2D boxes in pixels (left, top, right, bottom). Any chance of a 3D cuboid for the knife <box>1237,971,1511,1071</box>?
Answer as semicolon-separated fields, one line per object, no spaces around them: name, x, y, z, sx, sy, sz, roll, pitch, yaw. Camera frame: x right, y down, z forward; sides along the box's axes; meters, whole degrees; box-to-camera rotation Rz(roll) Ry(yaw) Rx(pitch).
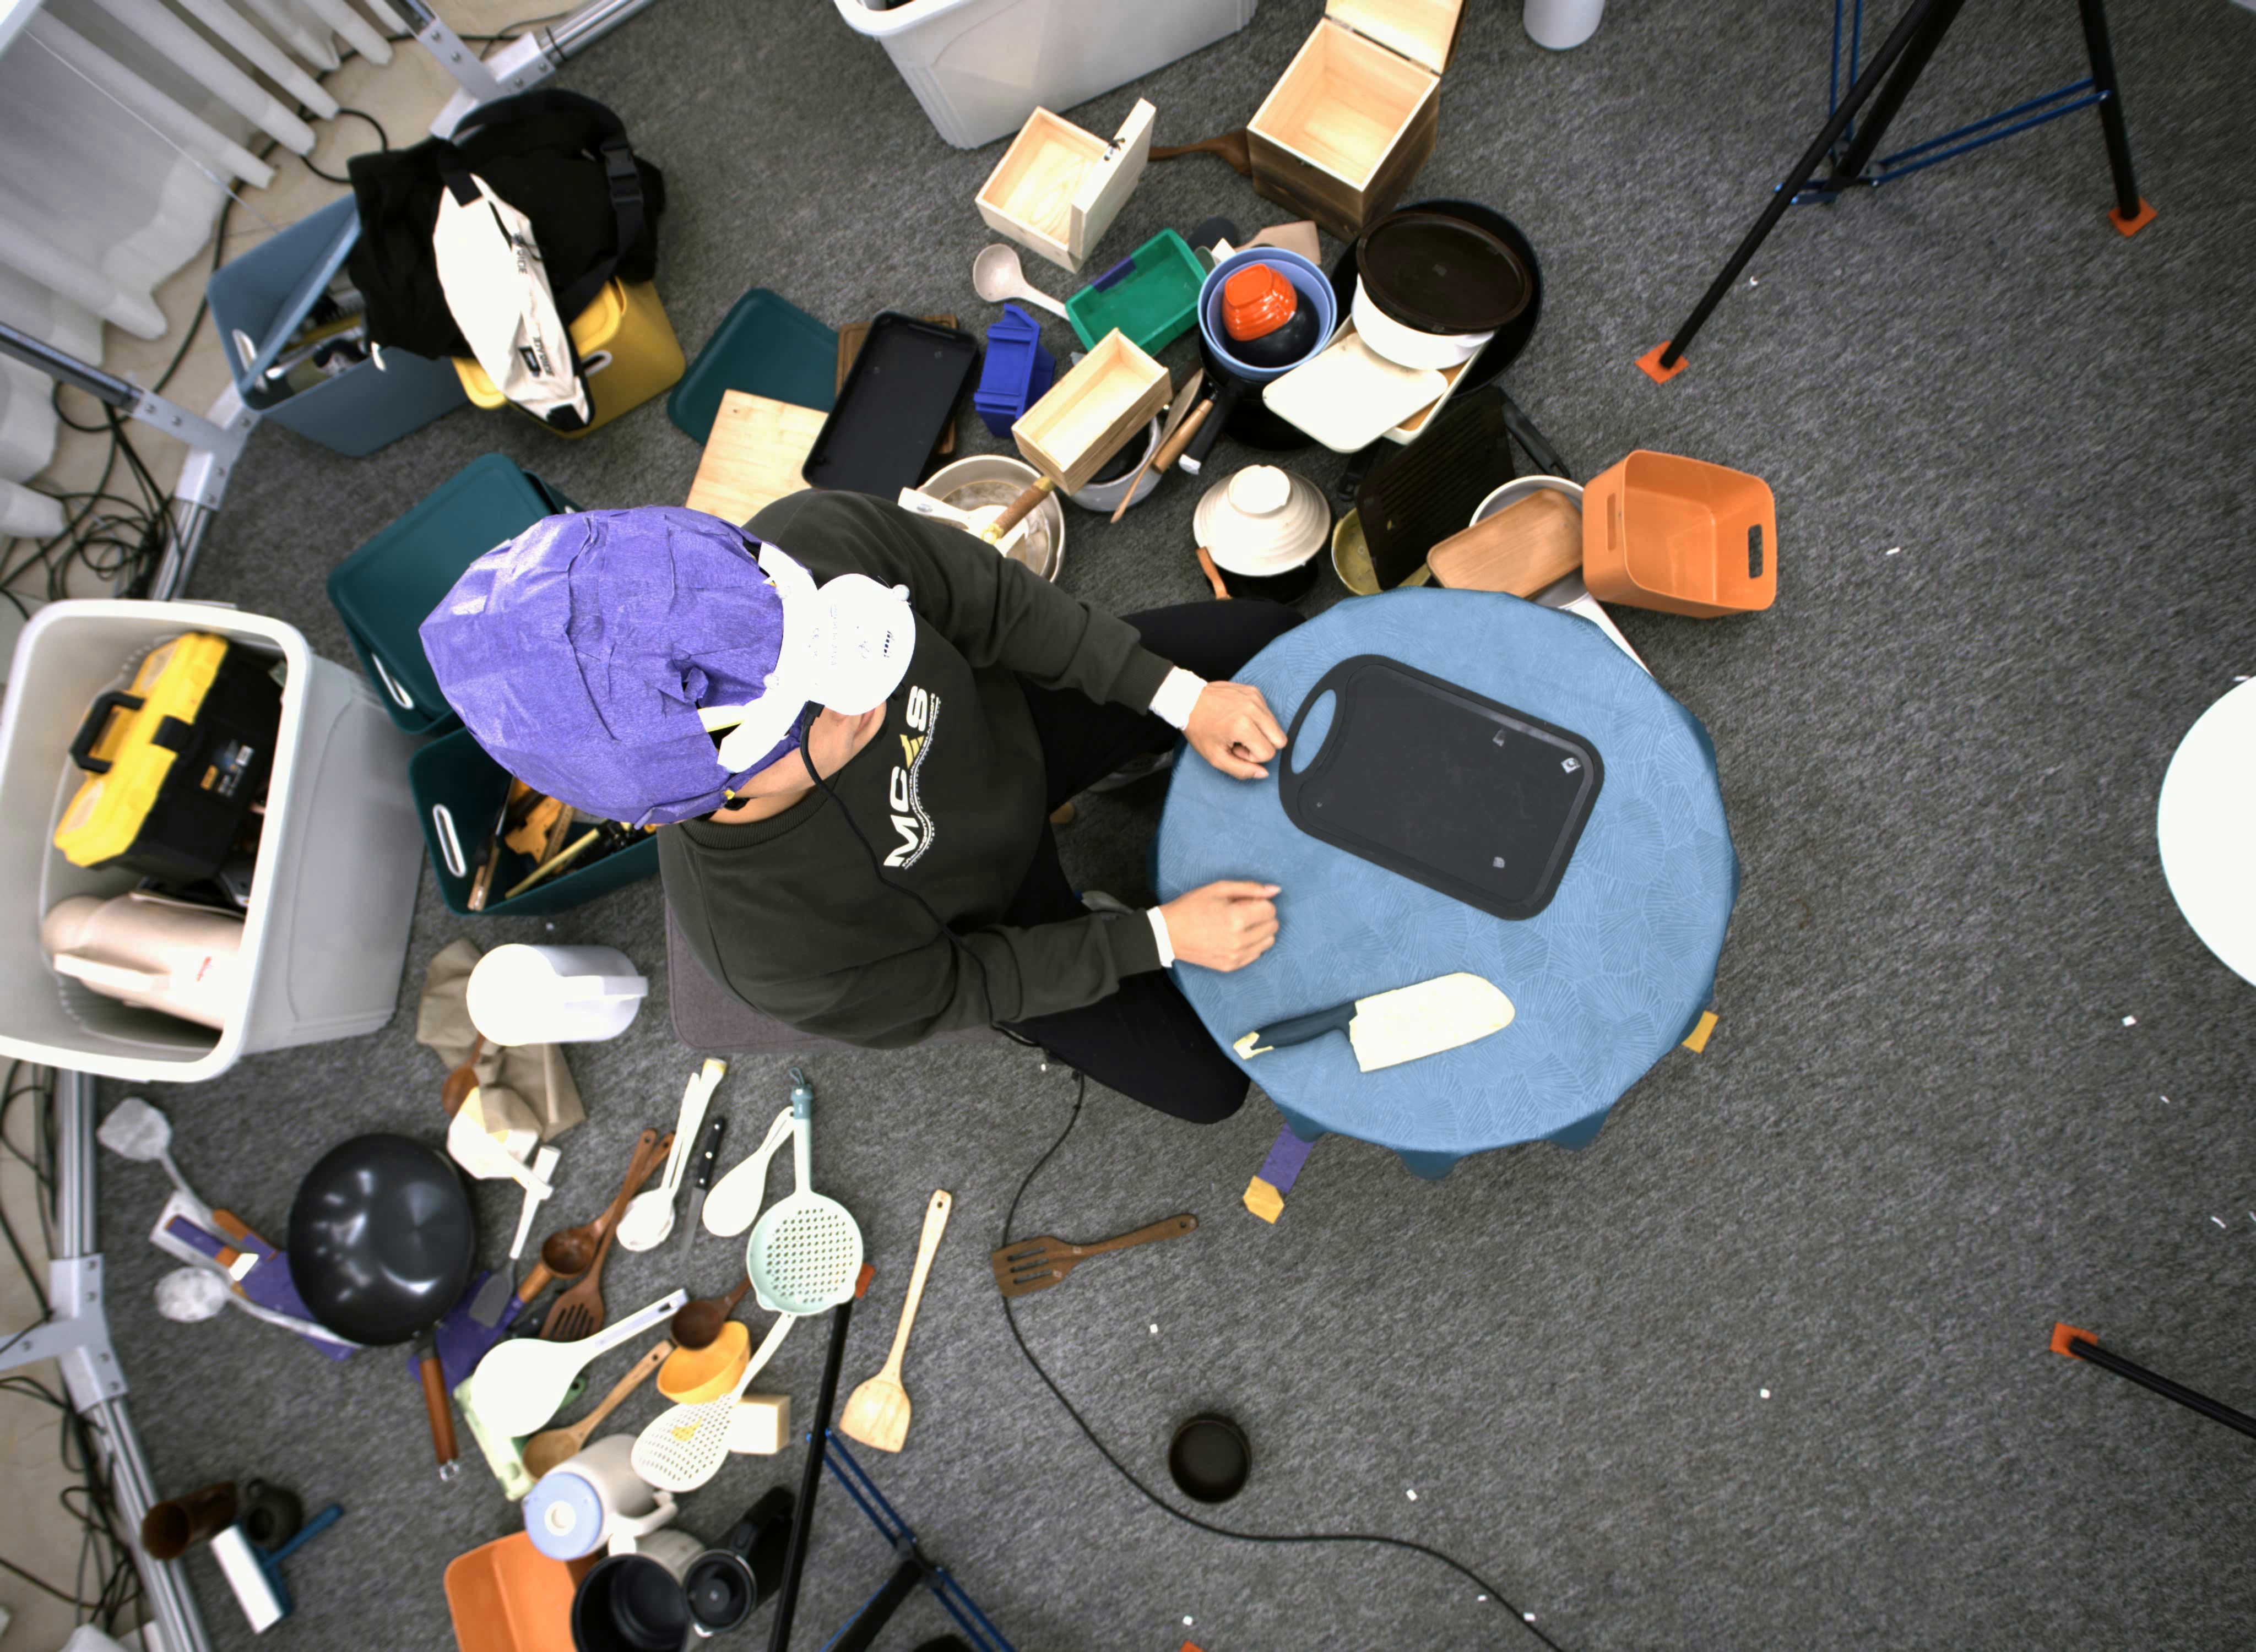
knife;0.258;0.212;1.447;0.291;0.027;0.080;-14;82;9

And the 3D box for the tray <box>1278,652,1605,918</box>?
tray;0.322;-0.050;1.453;0.325;0.010;0.211;24;92;11
